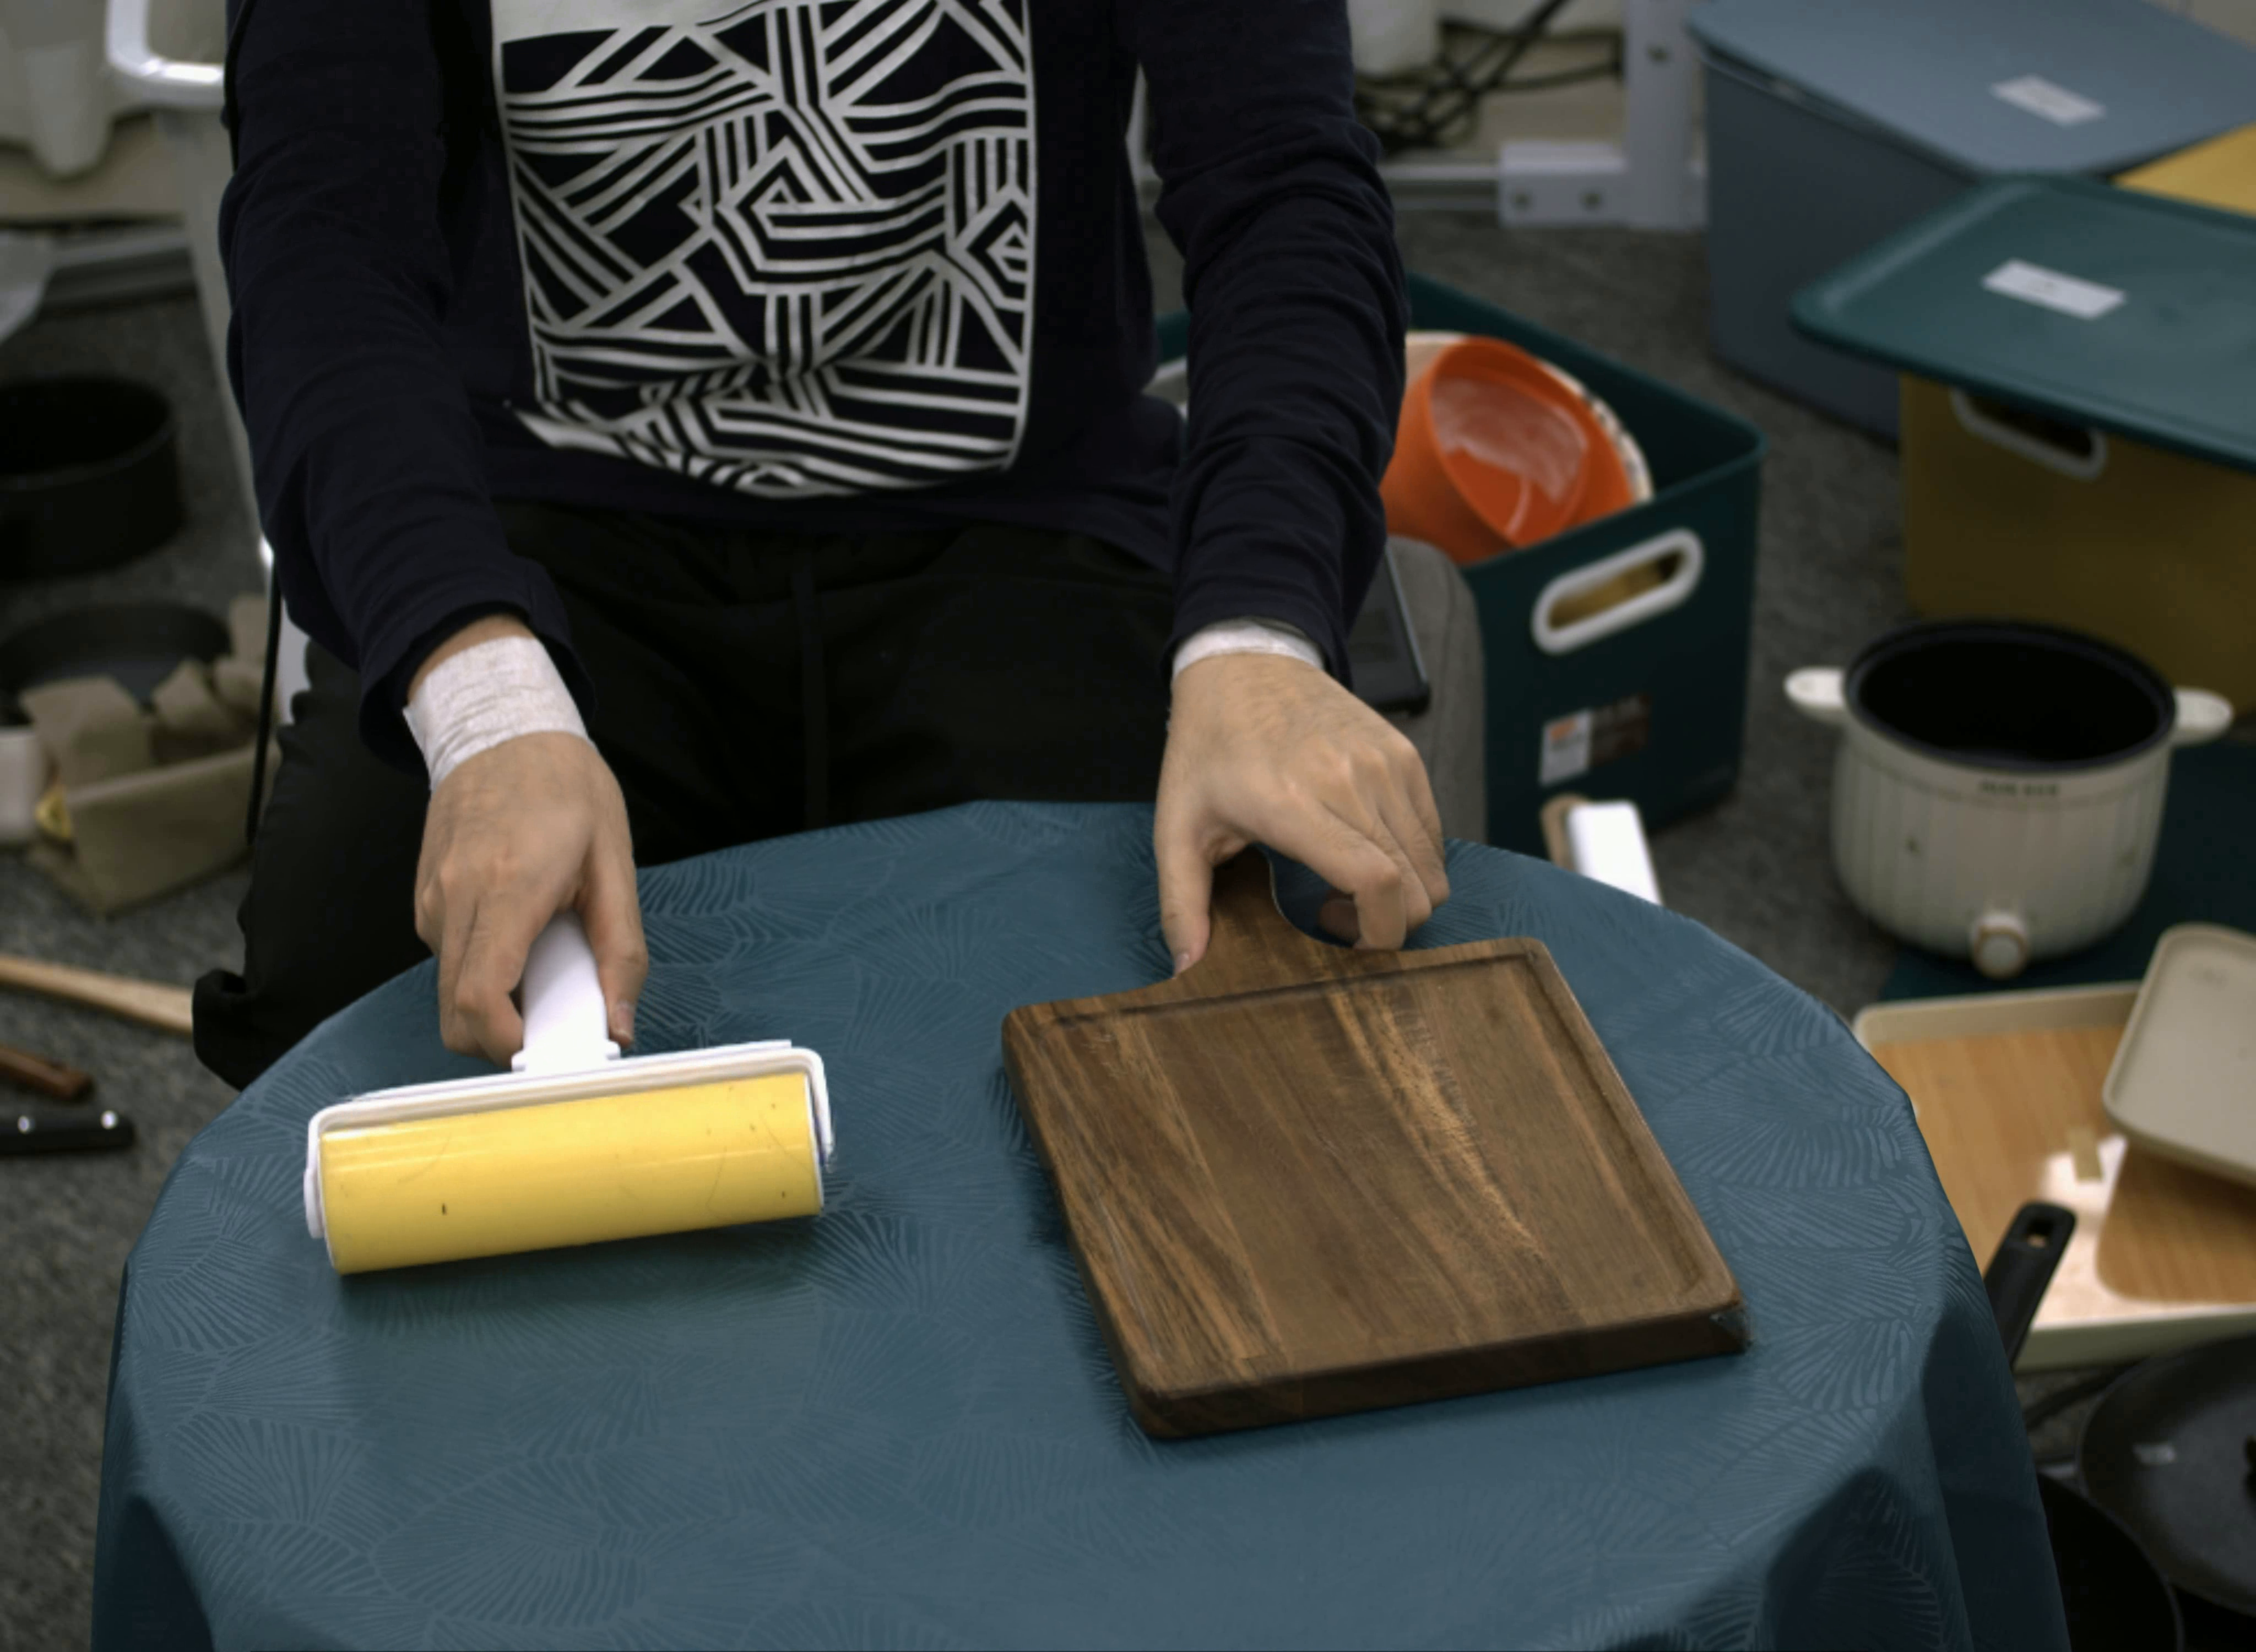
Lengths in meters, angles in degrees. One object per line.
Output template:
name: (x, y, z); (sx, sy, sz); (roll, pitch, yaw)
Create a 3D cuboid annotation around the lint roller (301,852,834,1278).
lint roller: (-0.193, 0.066, 1.886); (0.174, 0.050, 0.195); (-7, 45, -5)

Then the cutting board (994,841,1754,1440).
cutting board: (0.065, 0.092, 1.891); (0.201, 0.023, 0.356); (-7, 27, -10)
